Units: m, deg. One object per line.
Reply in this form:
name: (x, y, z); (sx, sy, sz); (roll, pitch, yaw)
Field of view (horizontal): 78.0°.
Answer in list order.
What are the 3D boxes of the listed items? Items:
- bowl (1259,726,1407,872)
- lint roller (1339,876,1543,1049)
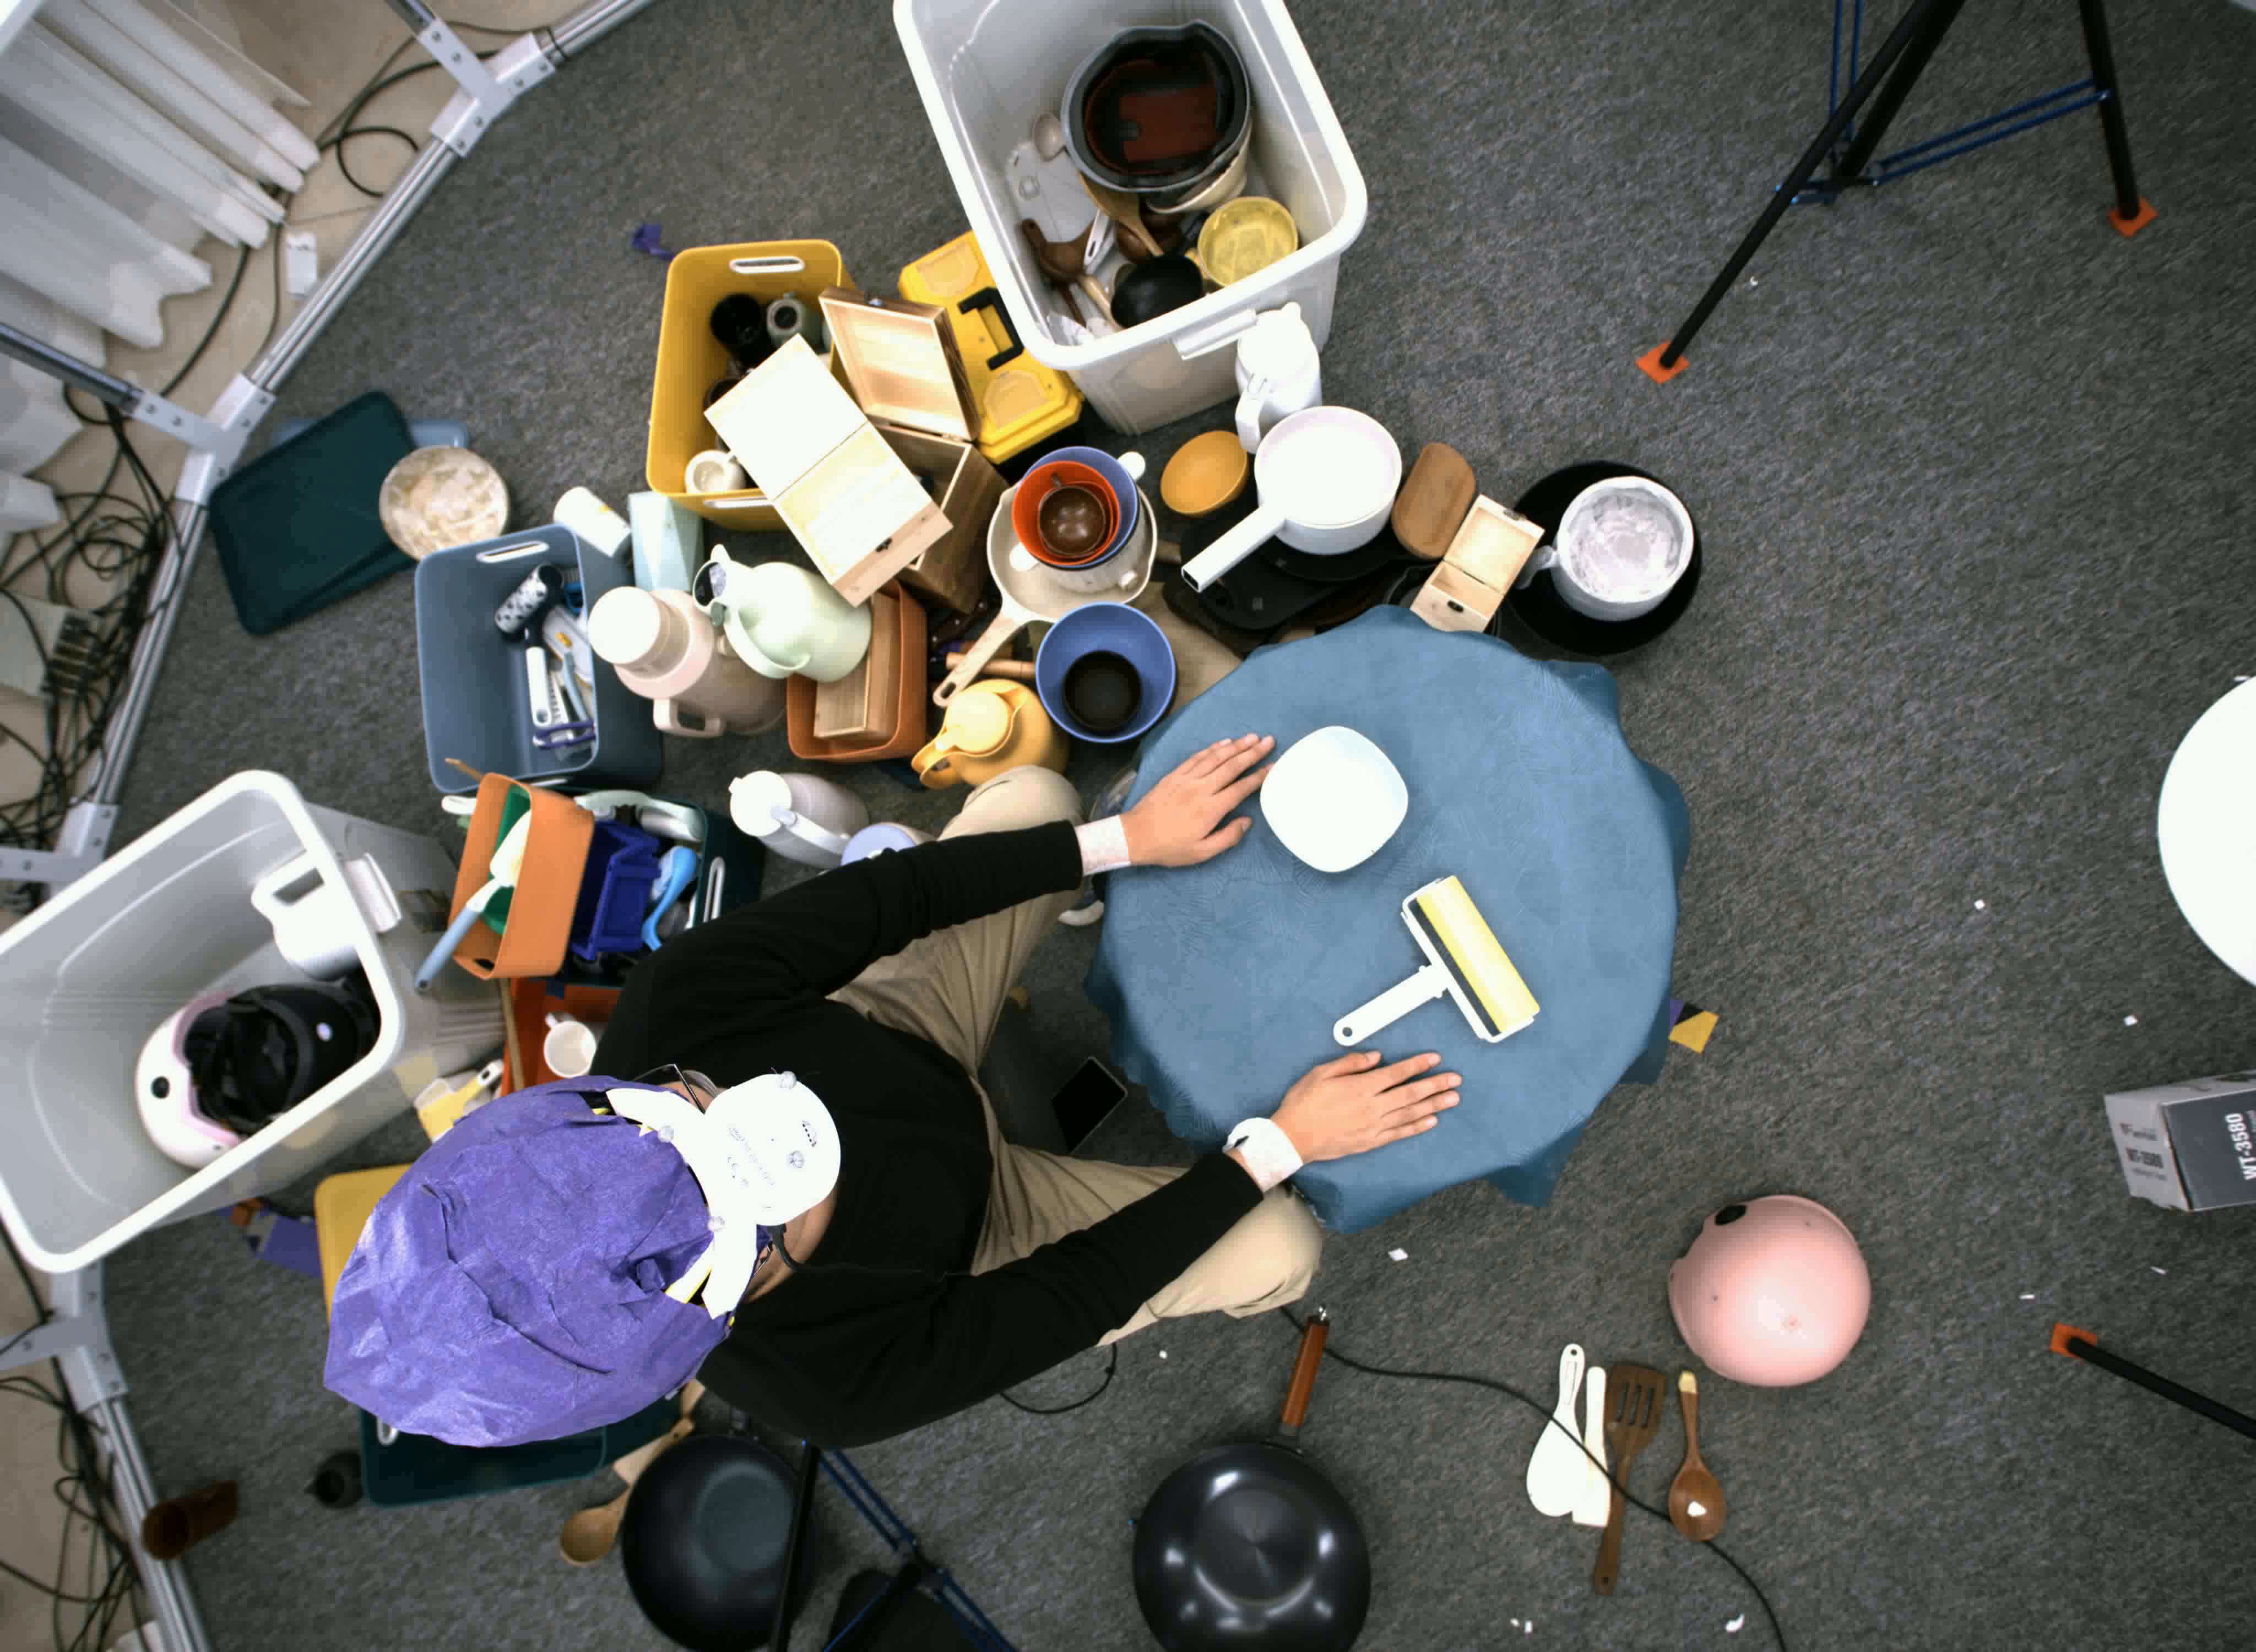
bowl: (0.214, -0.026, 1.447); (0.152, 0.059, 0.151); (-1, 86, 9)
lint roller: (0.301, 0.169, 1.422); (0.192, 0.051, 0.173); (-34, 81, 2)
